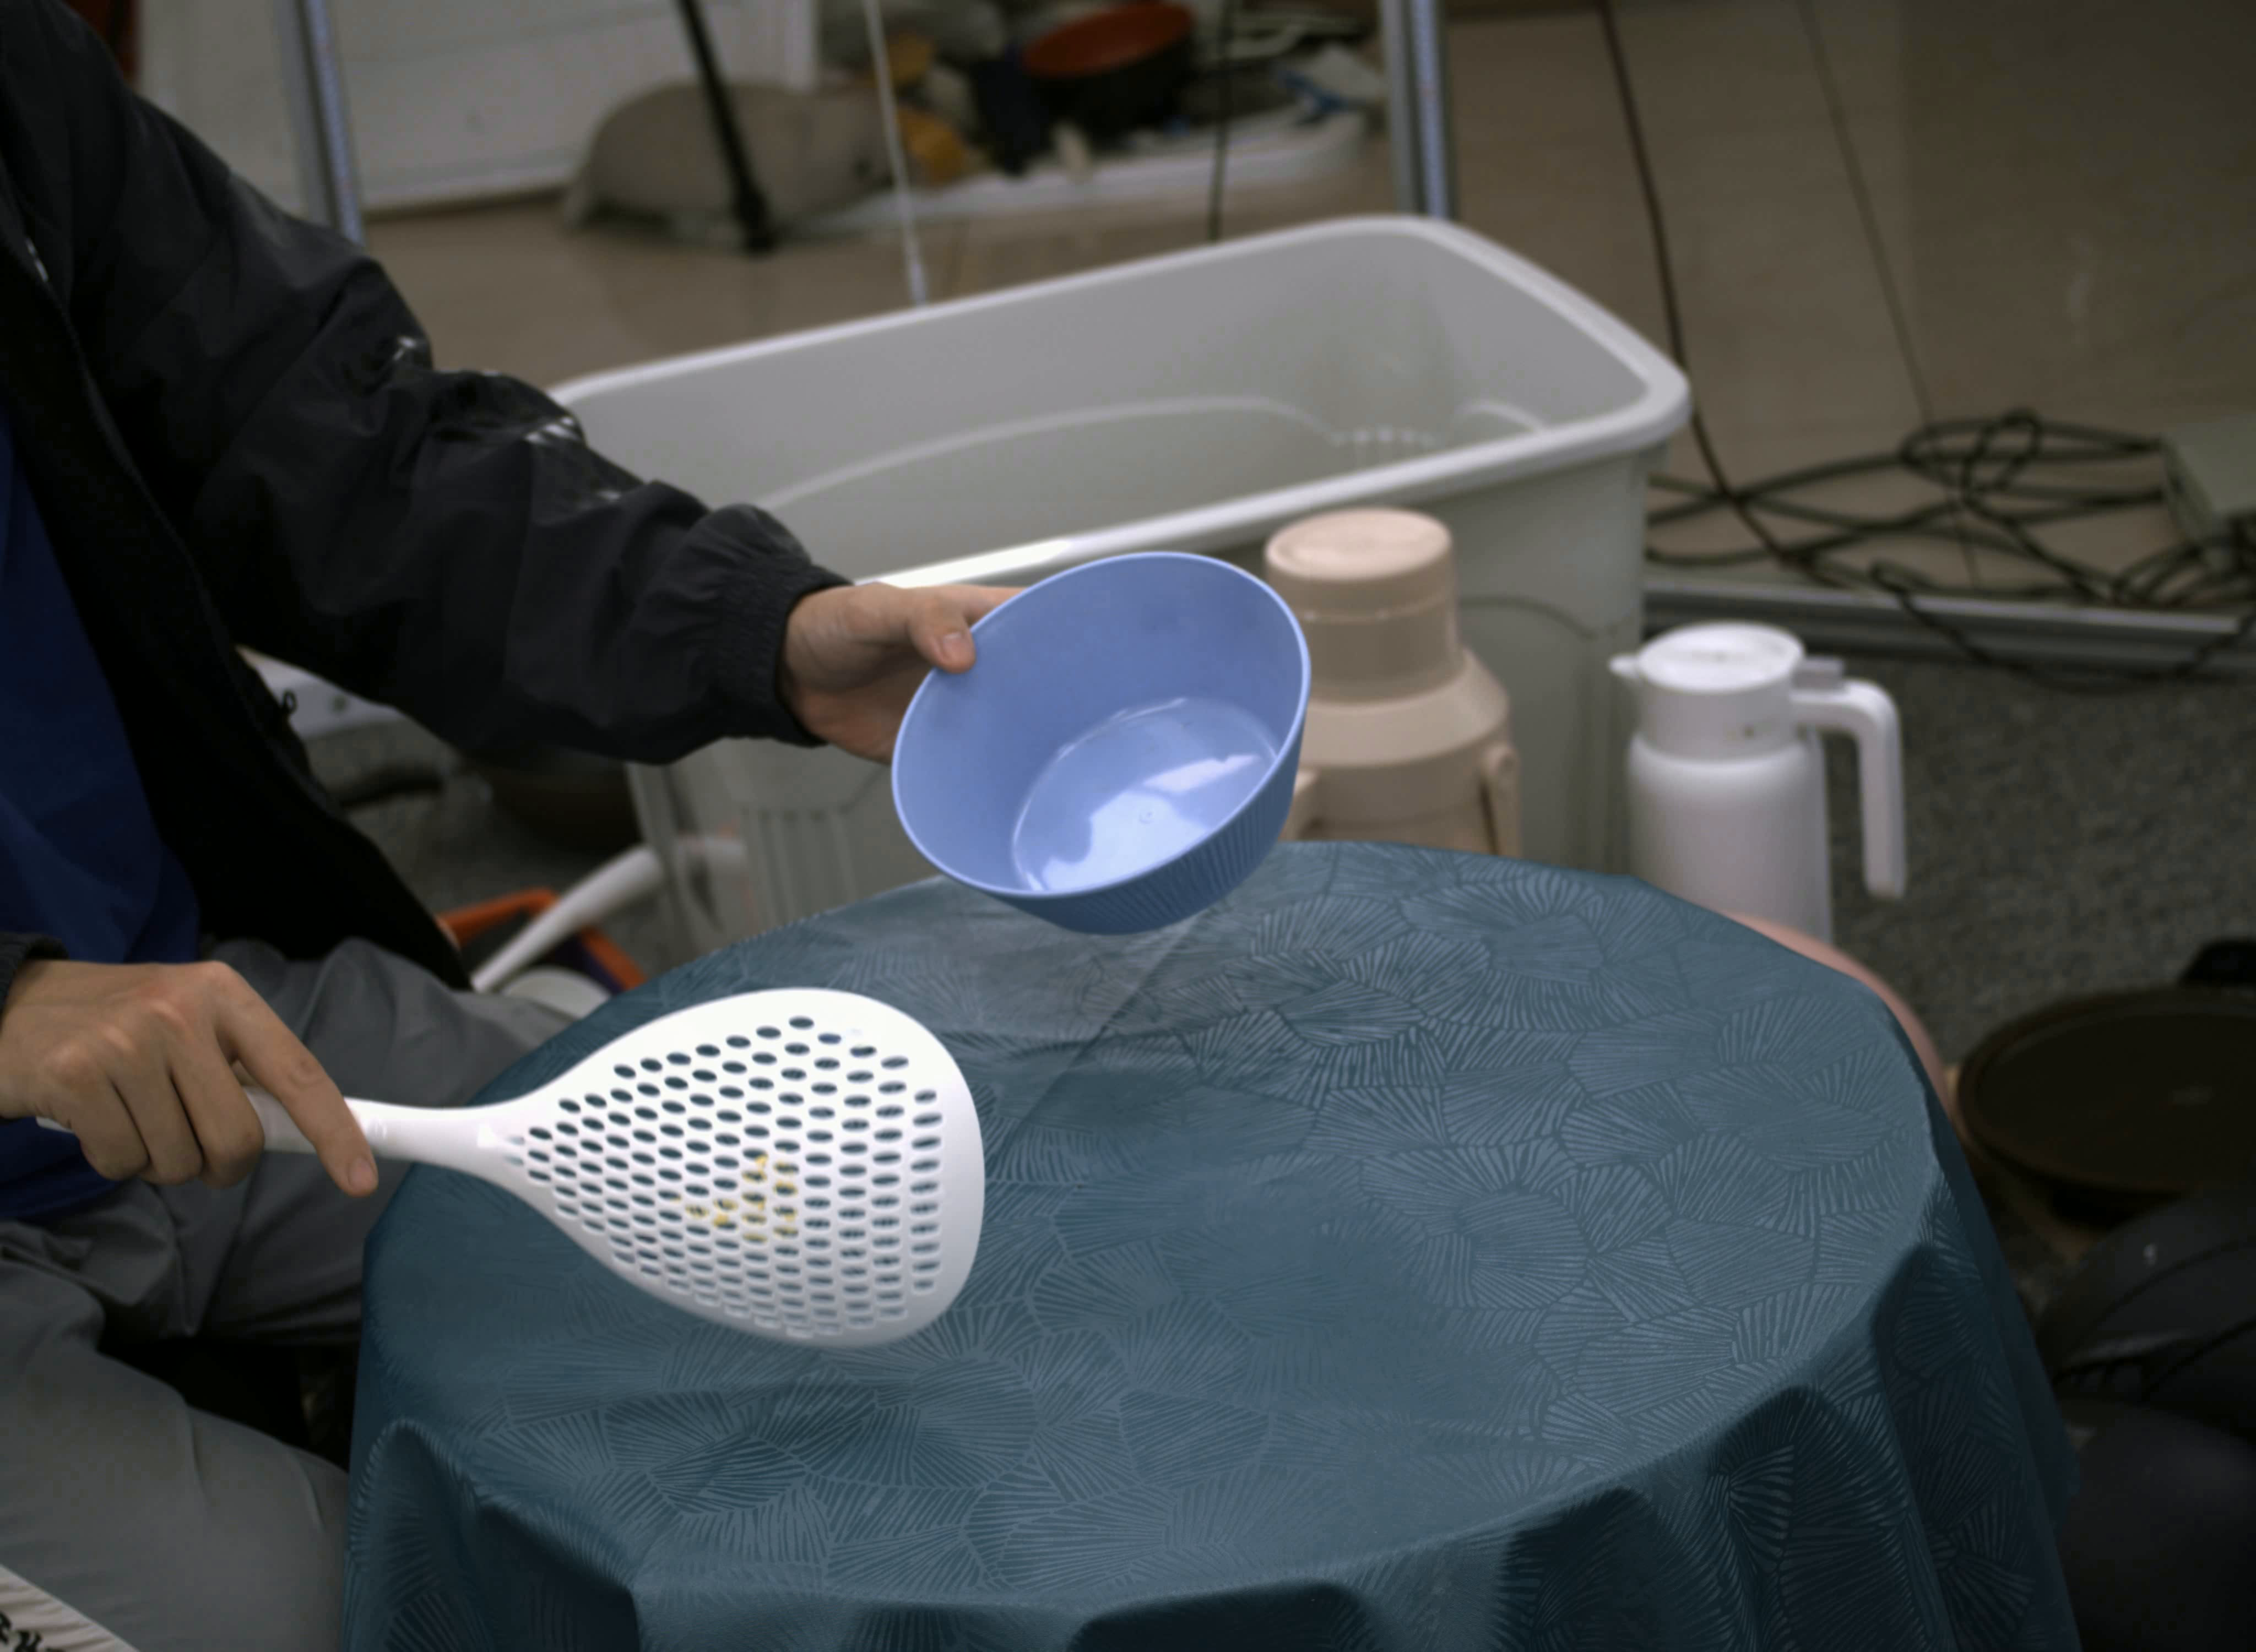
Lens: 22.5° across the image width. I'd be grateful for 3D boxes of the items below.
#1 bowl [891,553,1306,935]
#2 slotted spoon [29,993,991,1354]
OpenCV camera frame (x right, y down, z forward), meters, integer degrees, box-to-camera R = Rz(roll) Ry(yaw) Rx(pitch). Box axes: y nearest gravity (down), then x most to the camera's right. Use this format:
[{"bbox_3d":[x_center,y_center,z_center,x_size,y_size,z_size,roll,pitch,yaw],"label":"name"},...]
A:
[{"bbox_3d":[-0.002,-0.022,2.245,0.176,0.071,0.173,-14,48,16],"label":"bowl"},{"bbox_3d":[-0.222,0.117,2.032,0.347,0.138,0.050,7,20,12],"label":"slotted spoon"}]
